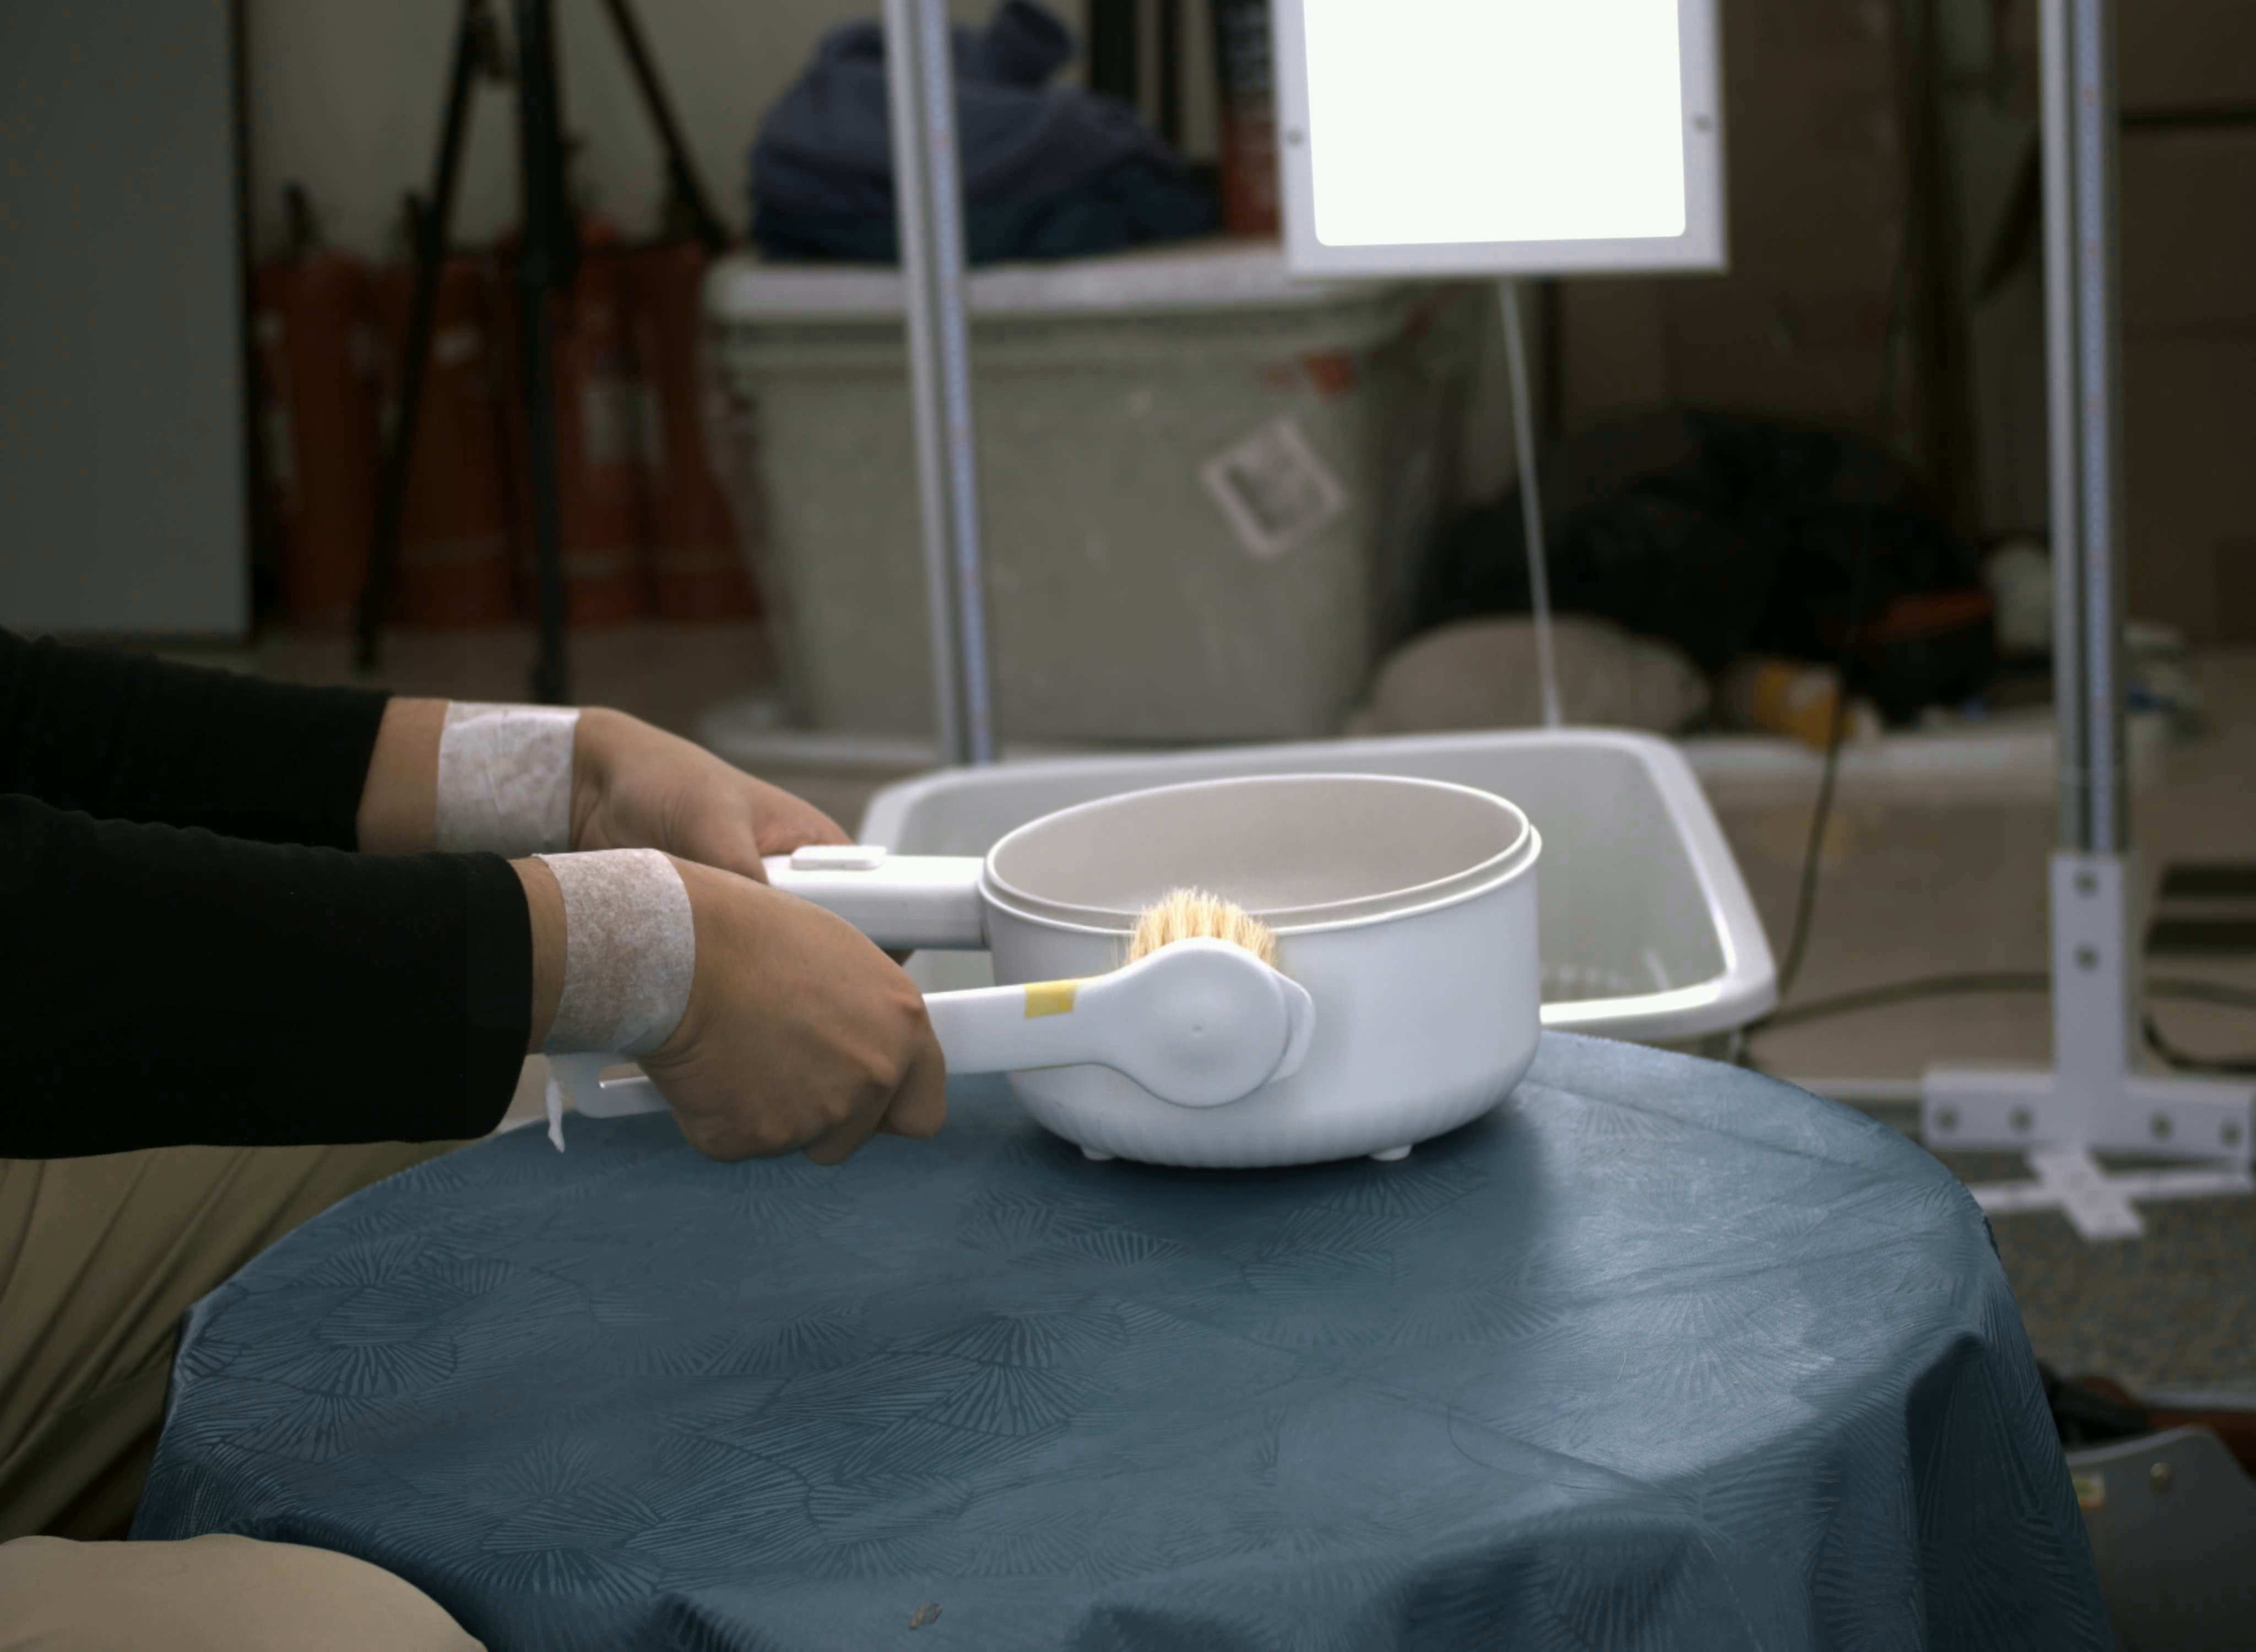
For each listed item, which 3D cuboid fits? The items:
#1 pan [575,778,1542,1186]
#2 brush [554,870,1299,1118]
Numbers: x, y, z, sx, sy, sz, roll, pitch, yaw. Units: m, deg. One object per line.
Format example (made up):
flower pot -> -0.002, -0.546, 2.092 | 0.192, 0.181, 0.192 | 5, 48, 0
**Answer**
pan -> -0.024, 0.060, 1.985 | 0.358, 0.102, 0.198 | -2, 16, 16
brush -> -0.067, 0.061, 1.808 | 0.262, 0.069, 0.057 | -5, 17, -20
